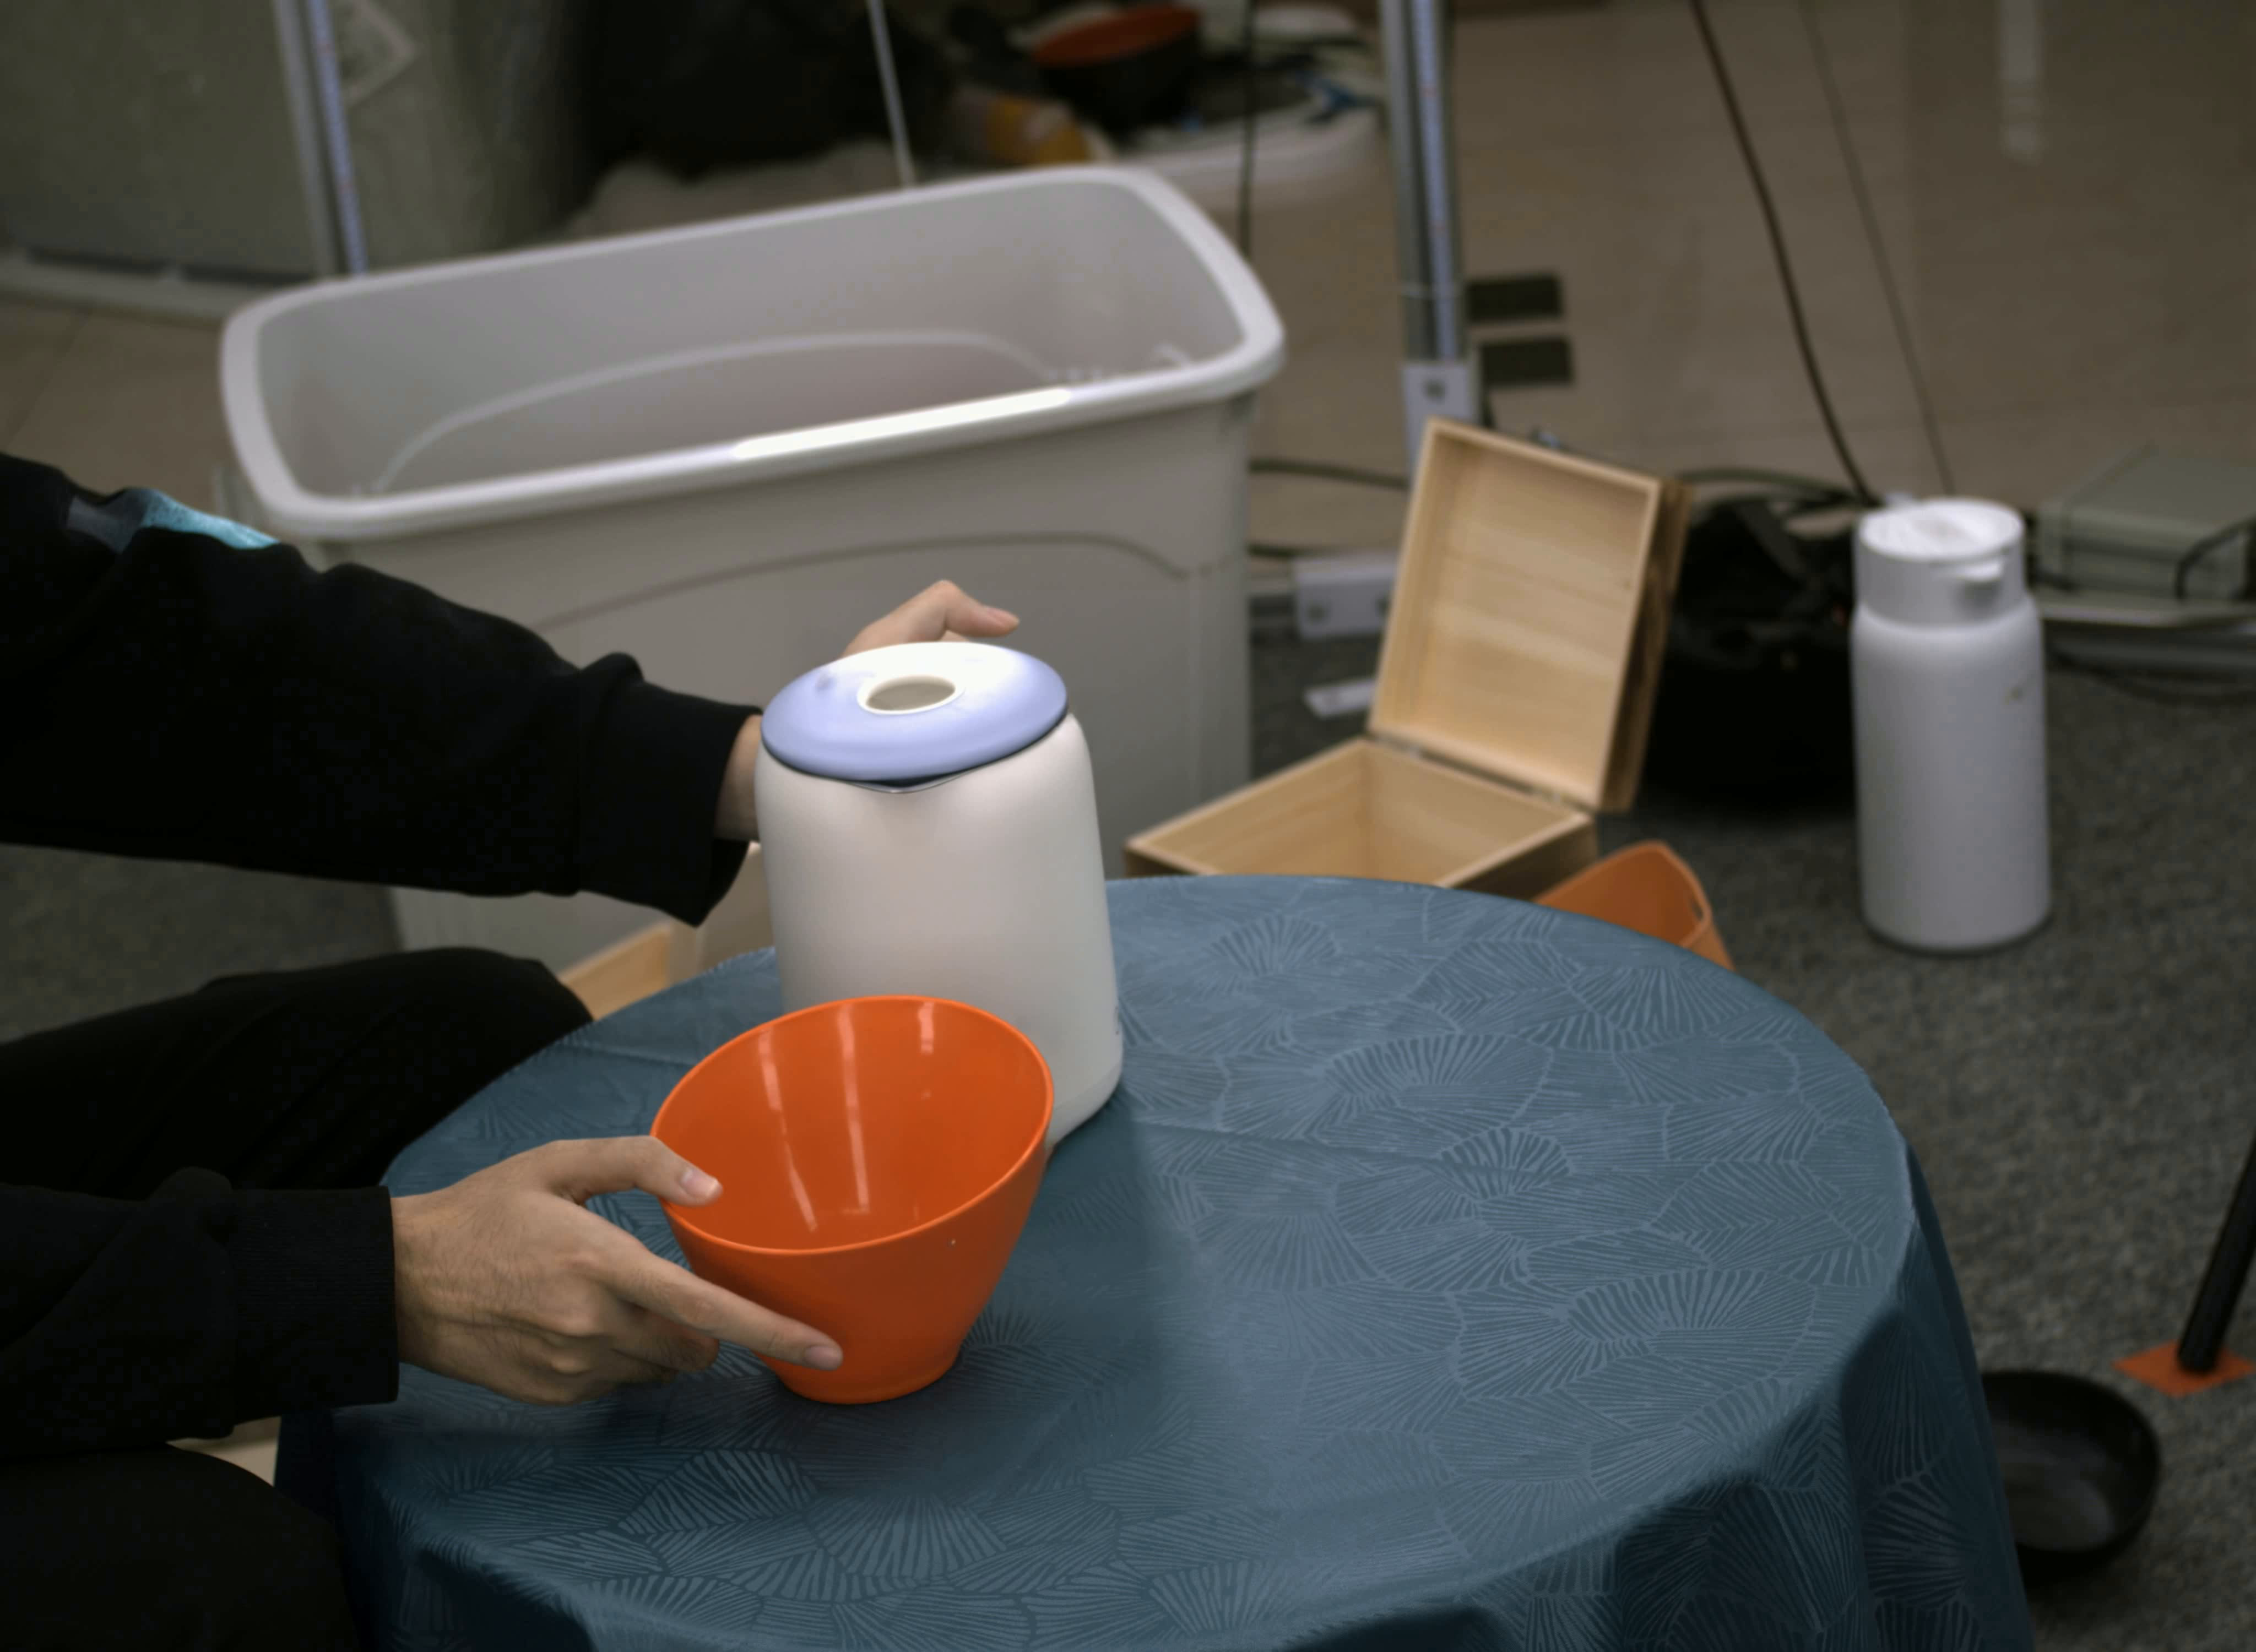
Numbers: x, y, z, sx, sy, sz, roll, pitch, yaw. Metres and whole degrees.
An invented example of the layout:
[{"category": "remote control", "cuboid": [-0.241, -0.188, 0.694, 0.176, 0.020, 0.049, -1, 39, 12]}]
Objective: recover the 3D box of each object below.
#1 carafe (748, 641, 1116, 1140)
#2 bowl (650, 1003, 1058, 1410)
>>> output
[{"category": "carafe", "cuboid": [-0.076, 0.020, 2.213, 0.132, 0.185, 0.188, -5, 23, 1]}, {"category": "bowl", "cuboid": [-0.094, 0.143, 2.039, 0.148, 0.106, 0.146, -5, 25, 3]}]
